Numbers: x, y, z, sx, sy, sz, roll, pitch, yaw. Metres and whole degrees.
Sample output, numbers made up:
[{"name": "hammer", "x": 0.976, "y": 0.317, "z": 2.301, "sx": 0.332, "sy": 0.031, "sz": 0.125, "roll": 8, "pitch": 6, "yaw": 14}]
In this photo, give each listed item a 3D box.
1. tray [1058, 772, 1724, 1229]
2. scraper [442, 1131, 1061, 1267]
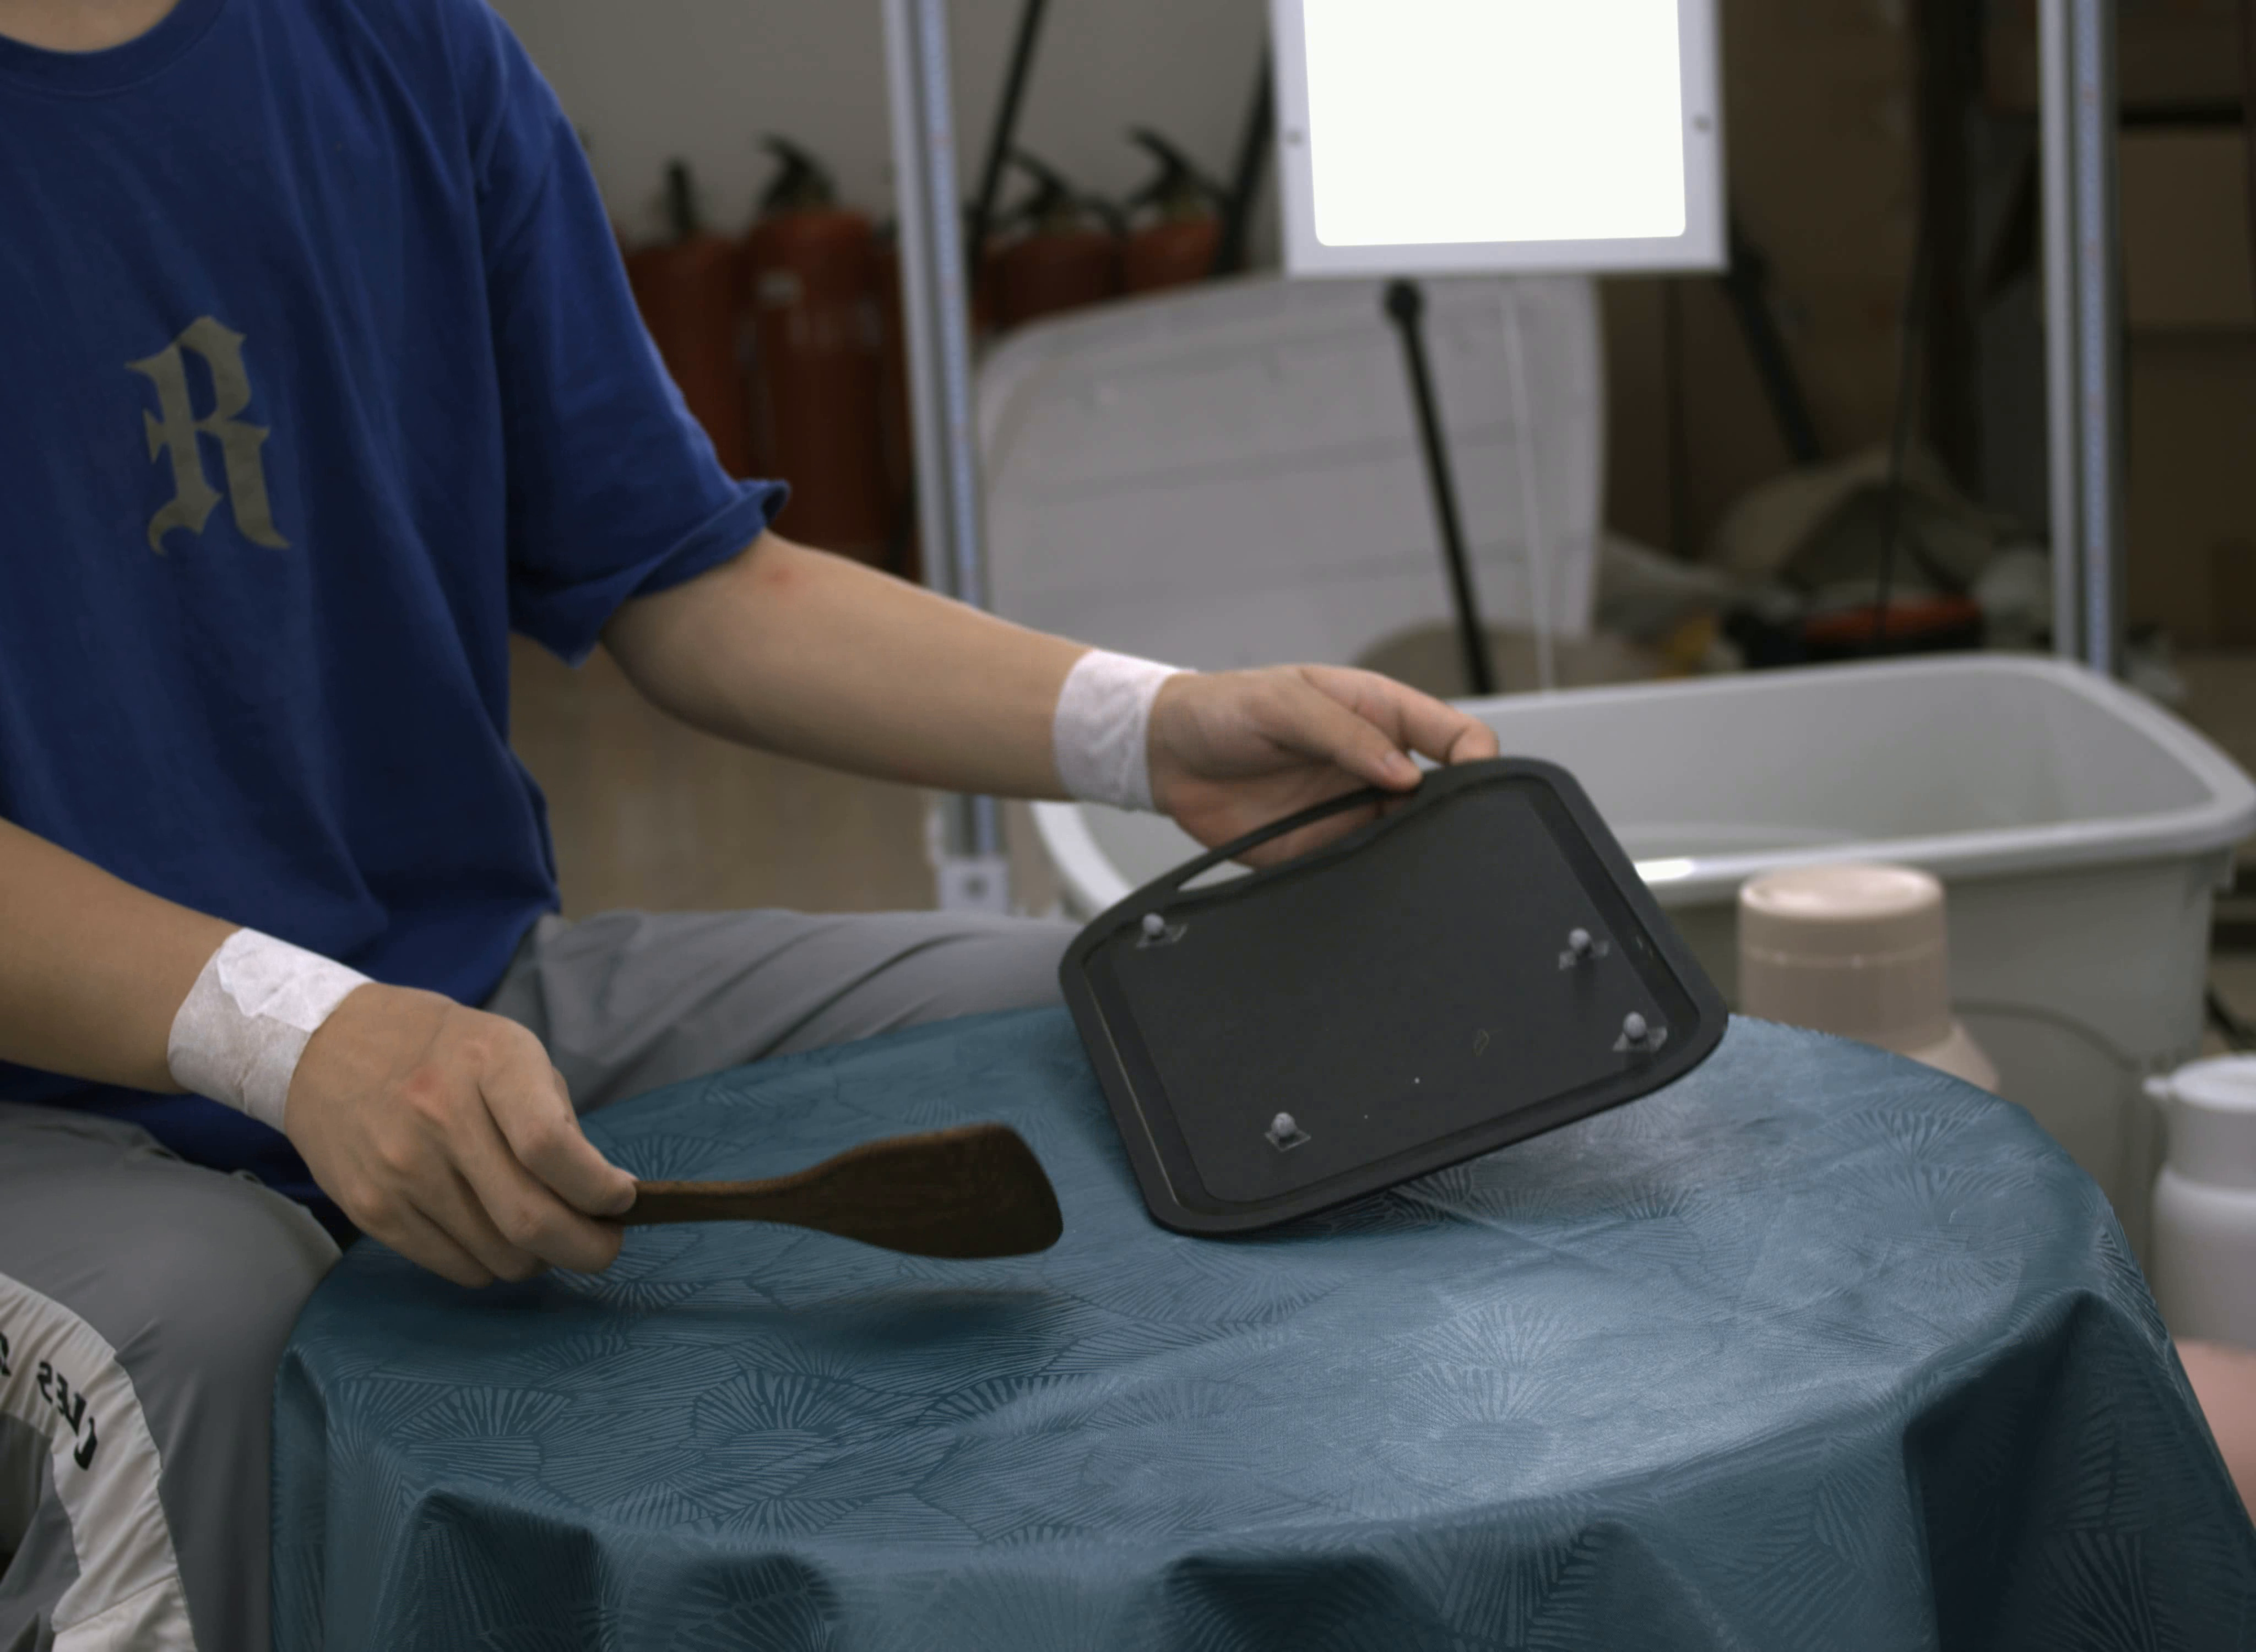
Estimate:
[{"name": "tray", "x": 0.086, "y": 0.054, "z": 1.979, "sx": 0.210, "sy": 0.010, "sz": 0.326, "roll": -20, "pitch": 22, "yaw": 0}, {"name": "scraper", "x": -0.127, "y": 0.125, "z": 1.809, "sx": 0.214, "sy": 0.075, "sz": 0.011, "roll": -2, "pitch": 55, "yaw": 20}]
